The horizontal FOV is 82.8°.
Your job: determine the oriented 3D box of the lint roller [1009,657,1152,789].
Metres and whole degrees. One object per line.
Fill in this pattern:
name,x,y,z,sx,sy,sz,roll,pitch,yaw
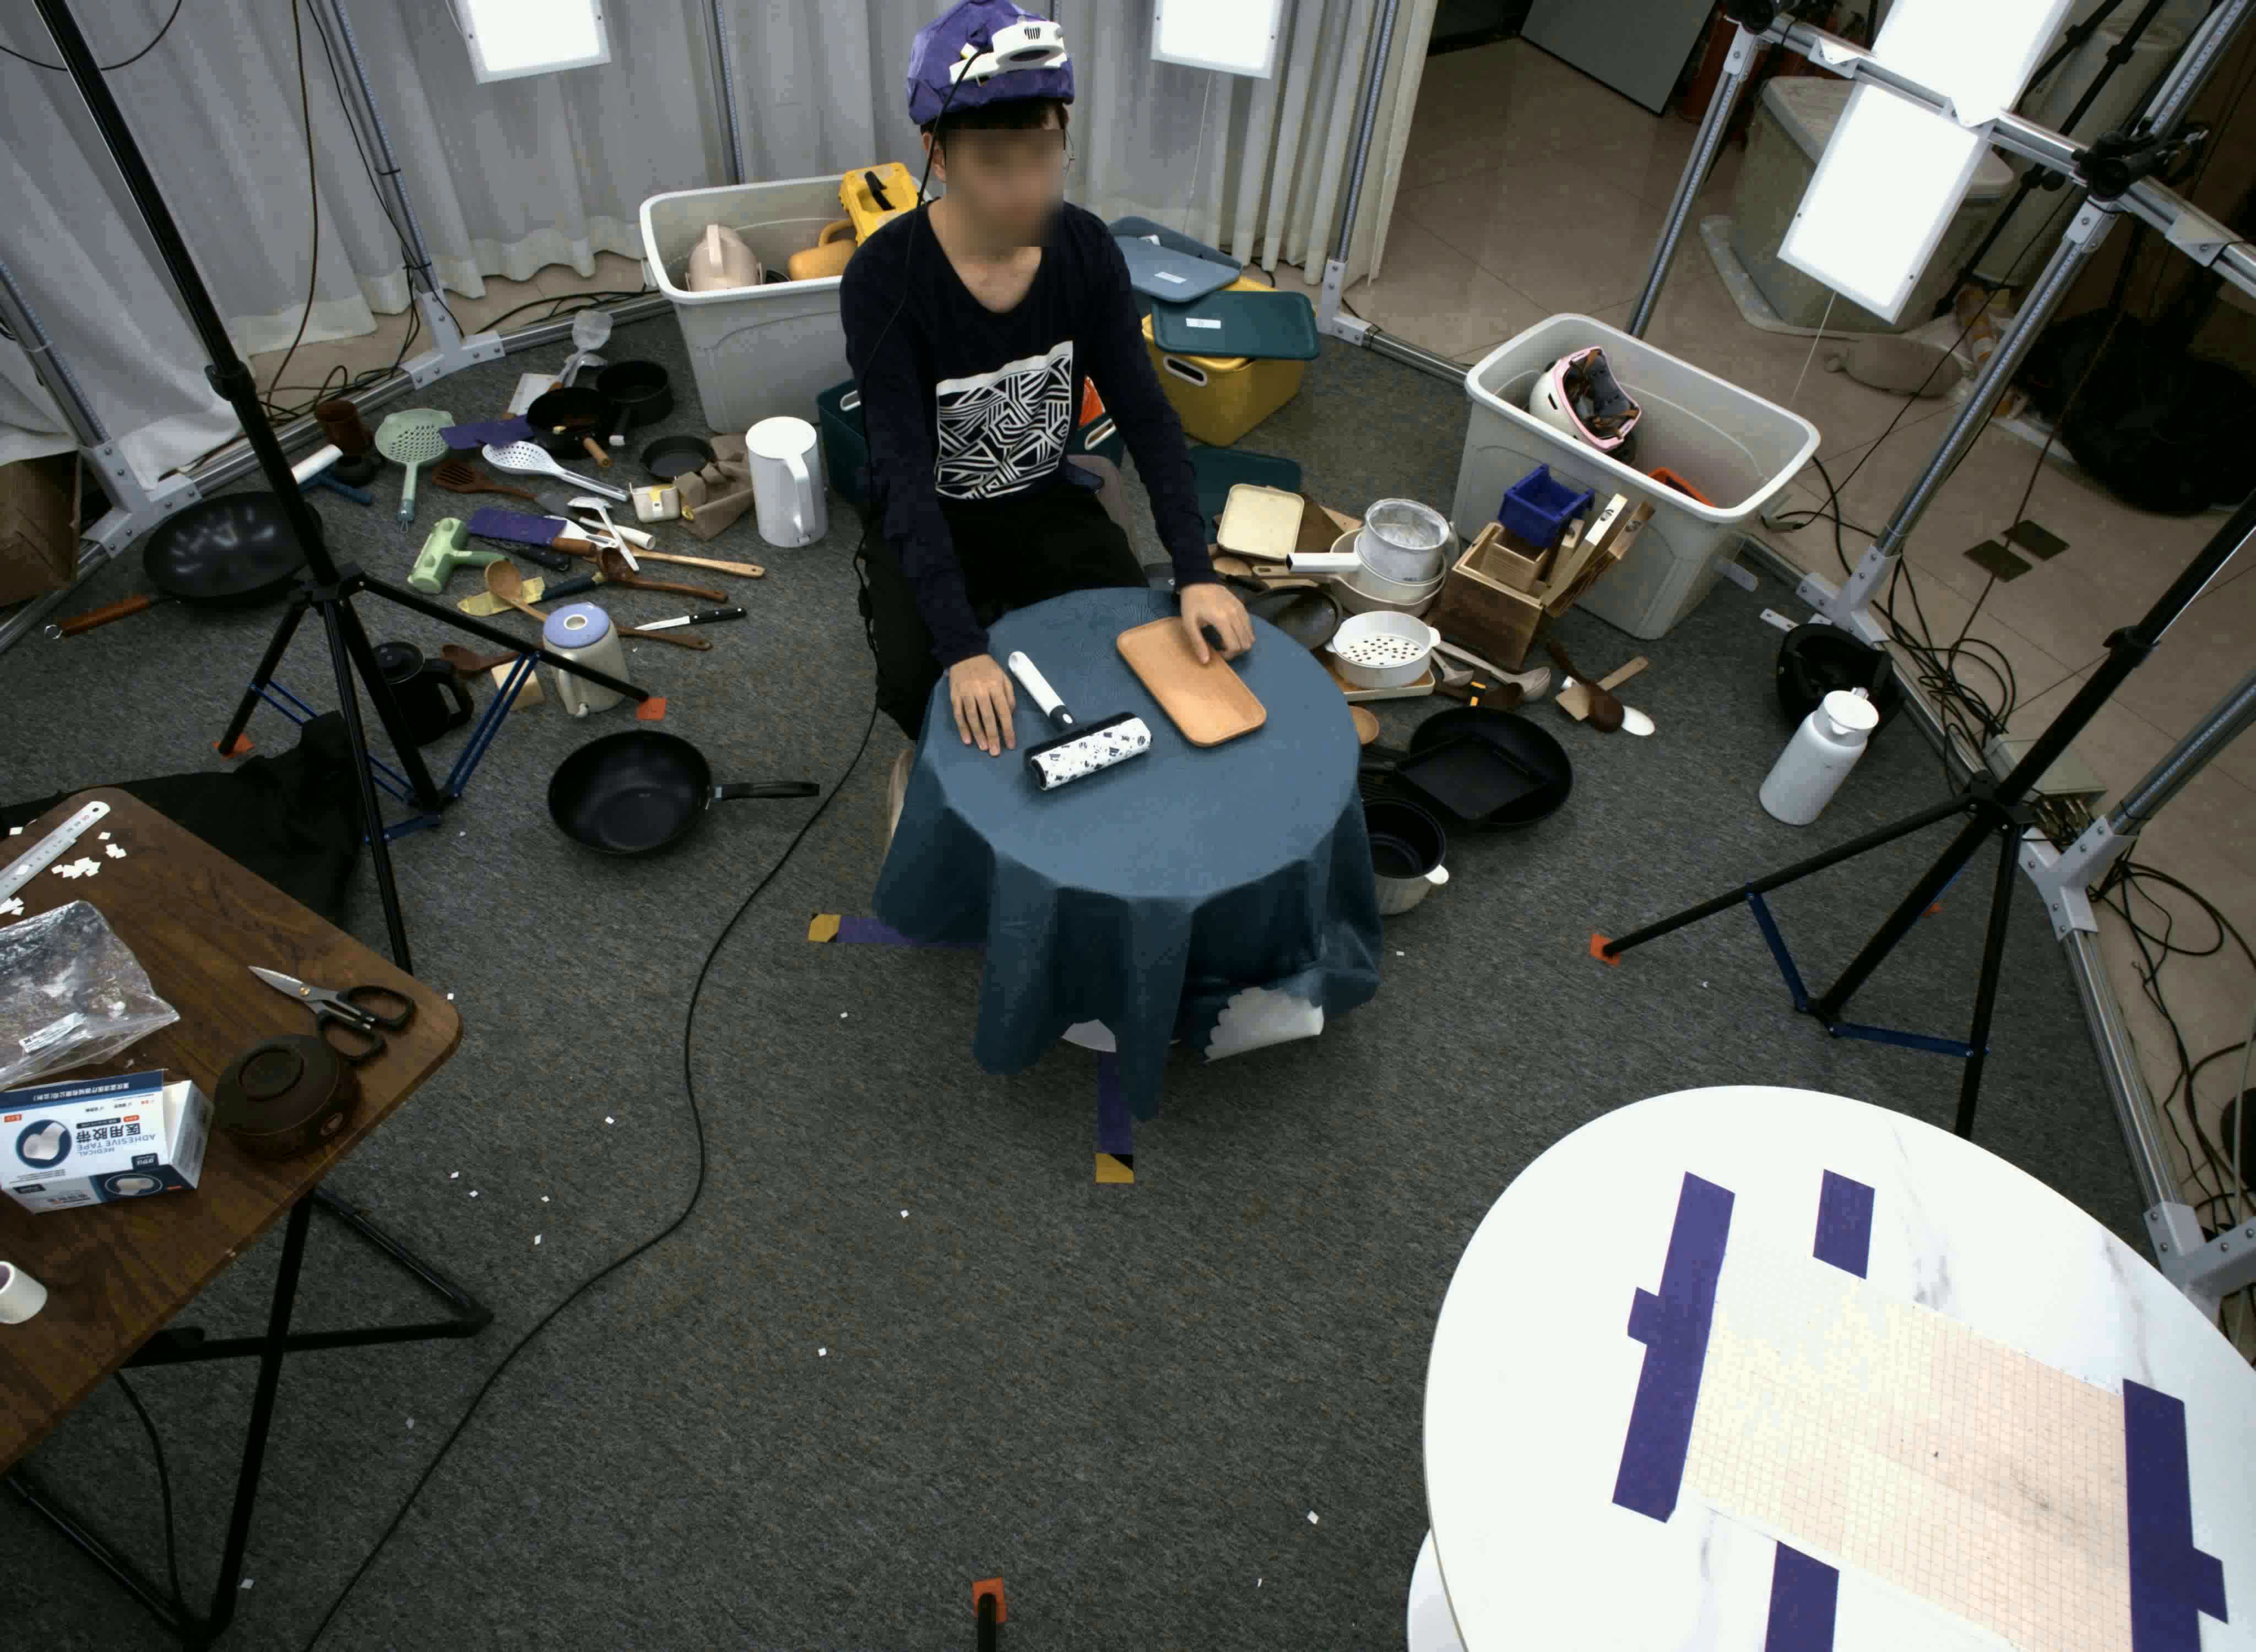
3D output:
lint roller,-0.103,-0.164,1.777,0.177,0.049,0.252,-23,52,-21

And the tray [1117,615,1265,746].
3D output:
tray,0.088,-0.212,1.847,0.131,0.022,0.256,-18,51,-22
